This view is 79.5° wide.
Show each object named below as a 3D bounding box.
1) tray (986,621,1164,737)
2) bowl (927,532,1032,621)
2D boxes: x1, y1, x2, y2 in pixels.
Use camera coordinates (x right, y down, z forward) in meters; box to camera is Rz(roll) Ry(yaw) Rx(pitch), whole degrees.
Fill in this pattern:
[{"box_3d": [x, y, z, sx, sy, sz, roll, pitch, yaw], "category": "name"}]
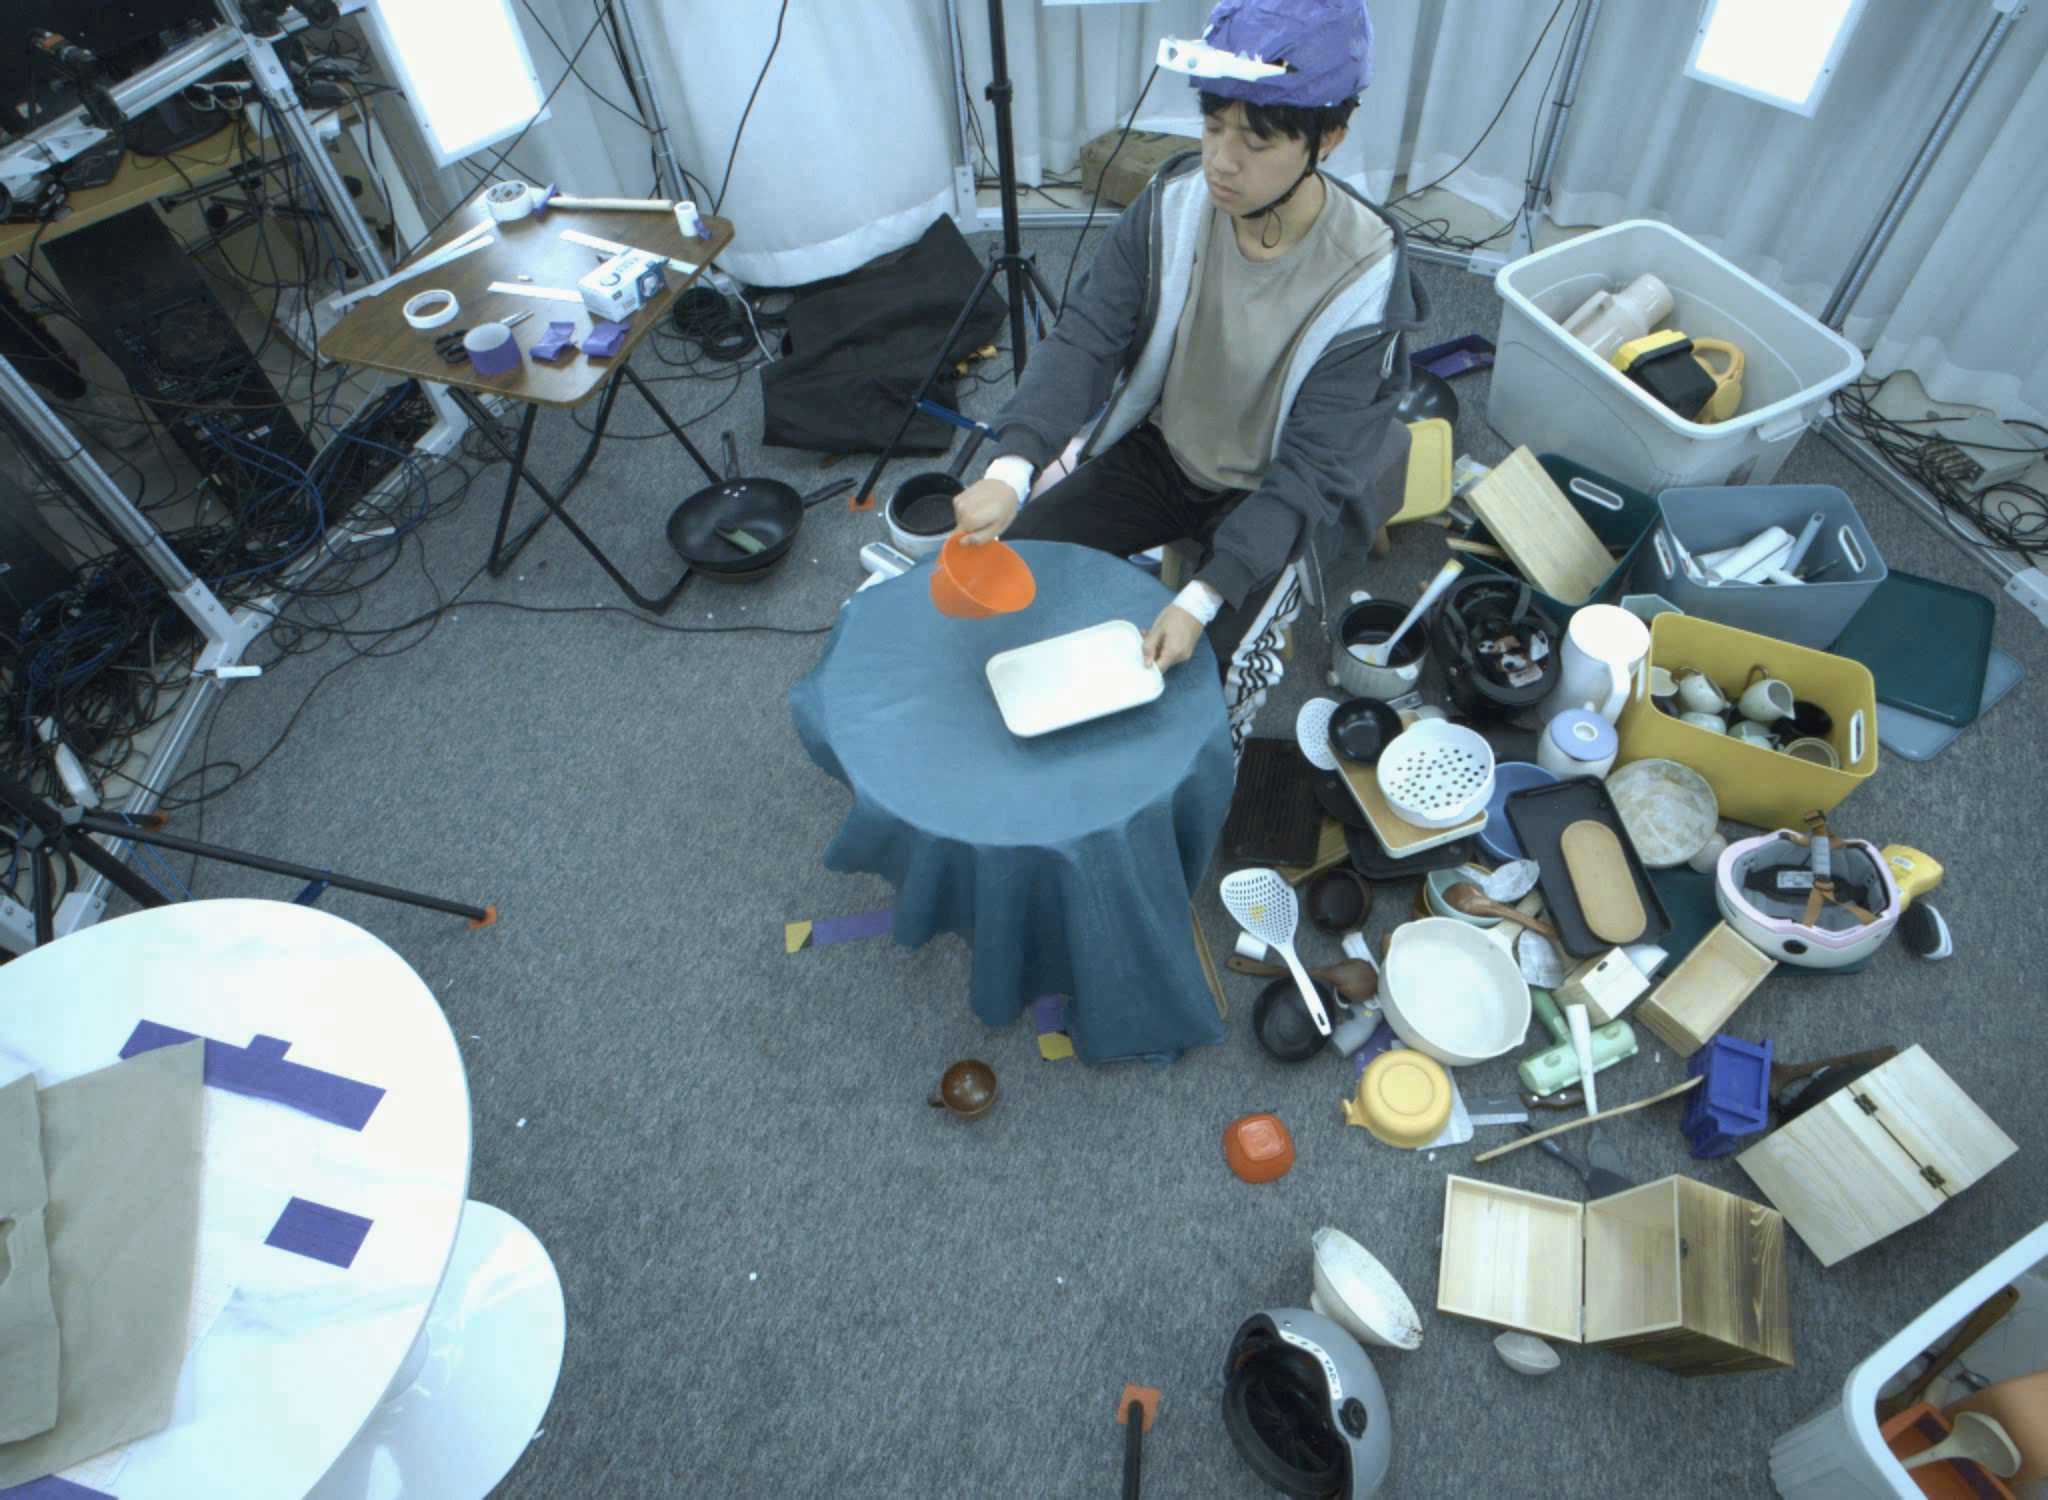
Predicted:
[{"box_3d": [0.074, -0.105, 1.817, 0.241, 0.018, 0.168, -17, 51, -7], "category": "tray"}, {"box_3d": [-0.078, -0.236, 1.771, 0.151, 0.103, 0.146, 23, 51, -30], "category": "bowl"}]
